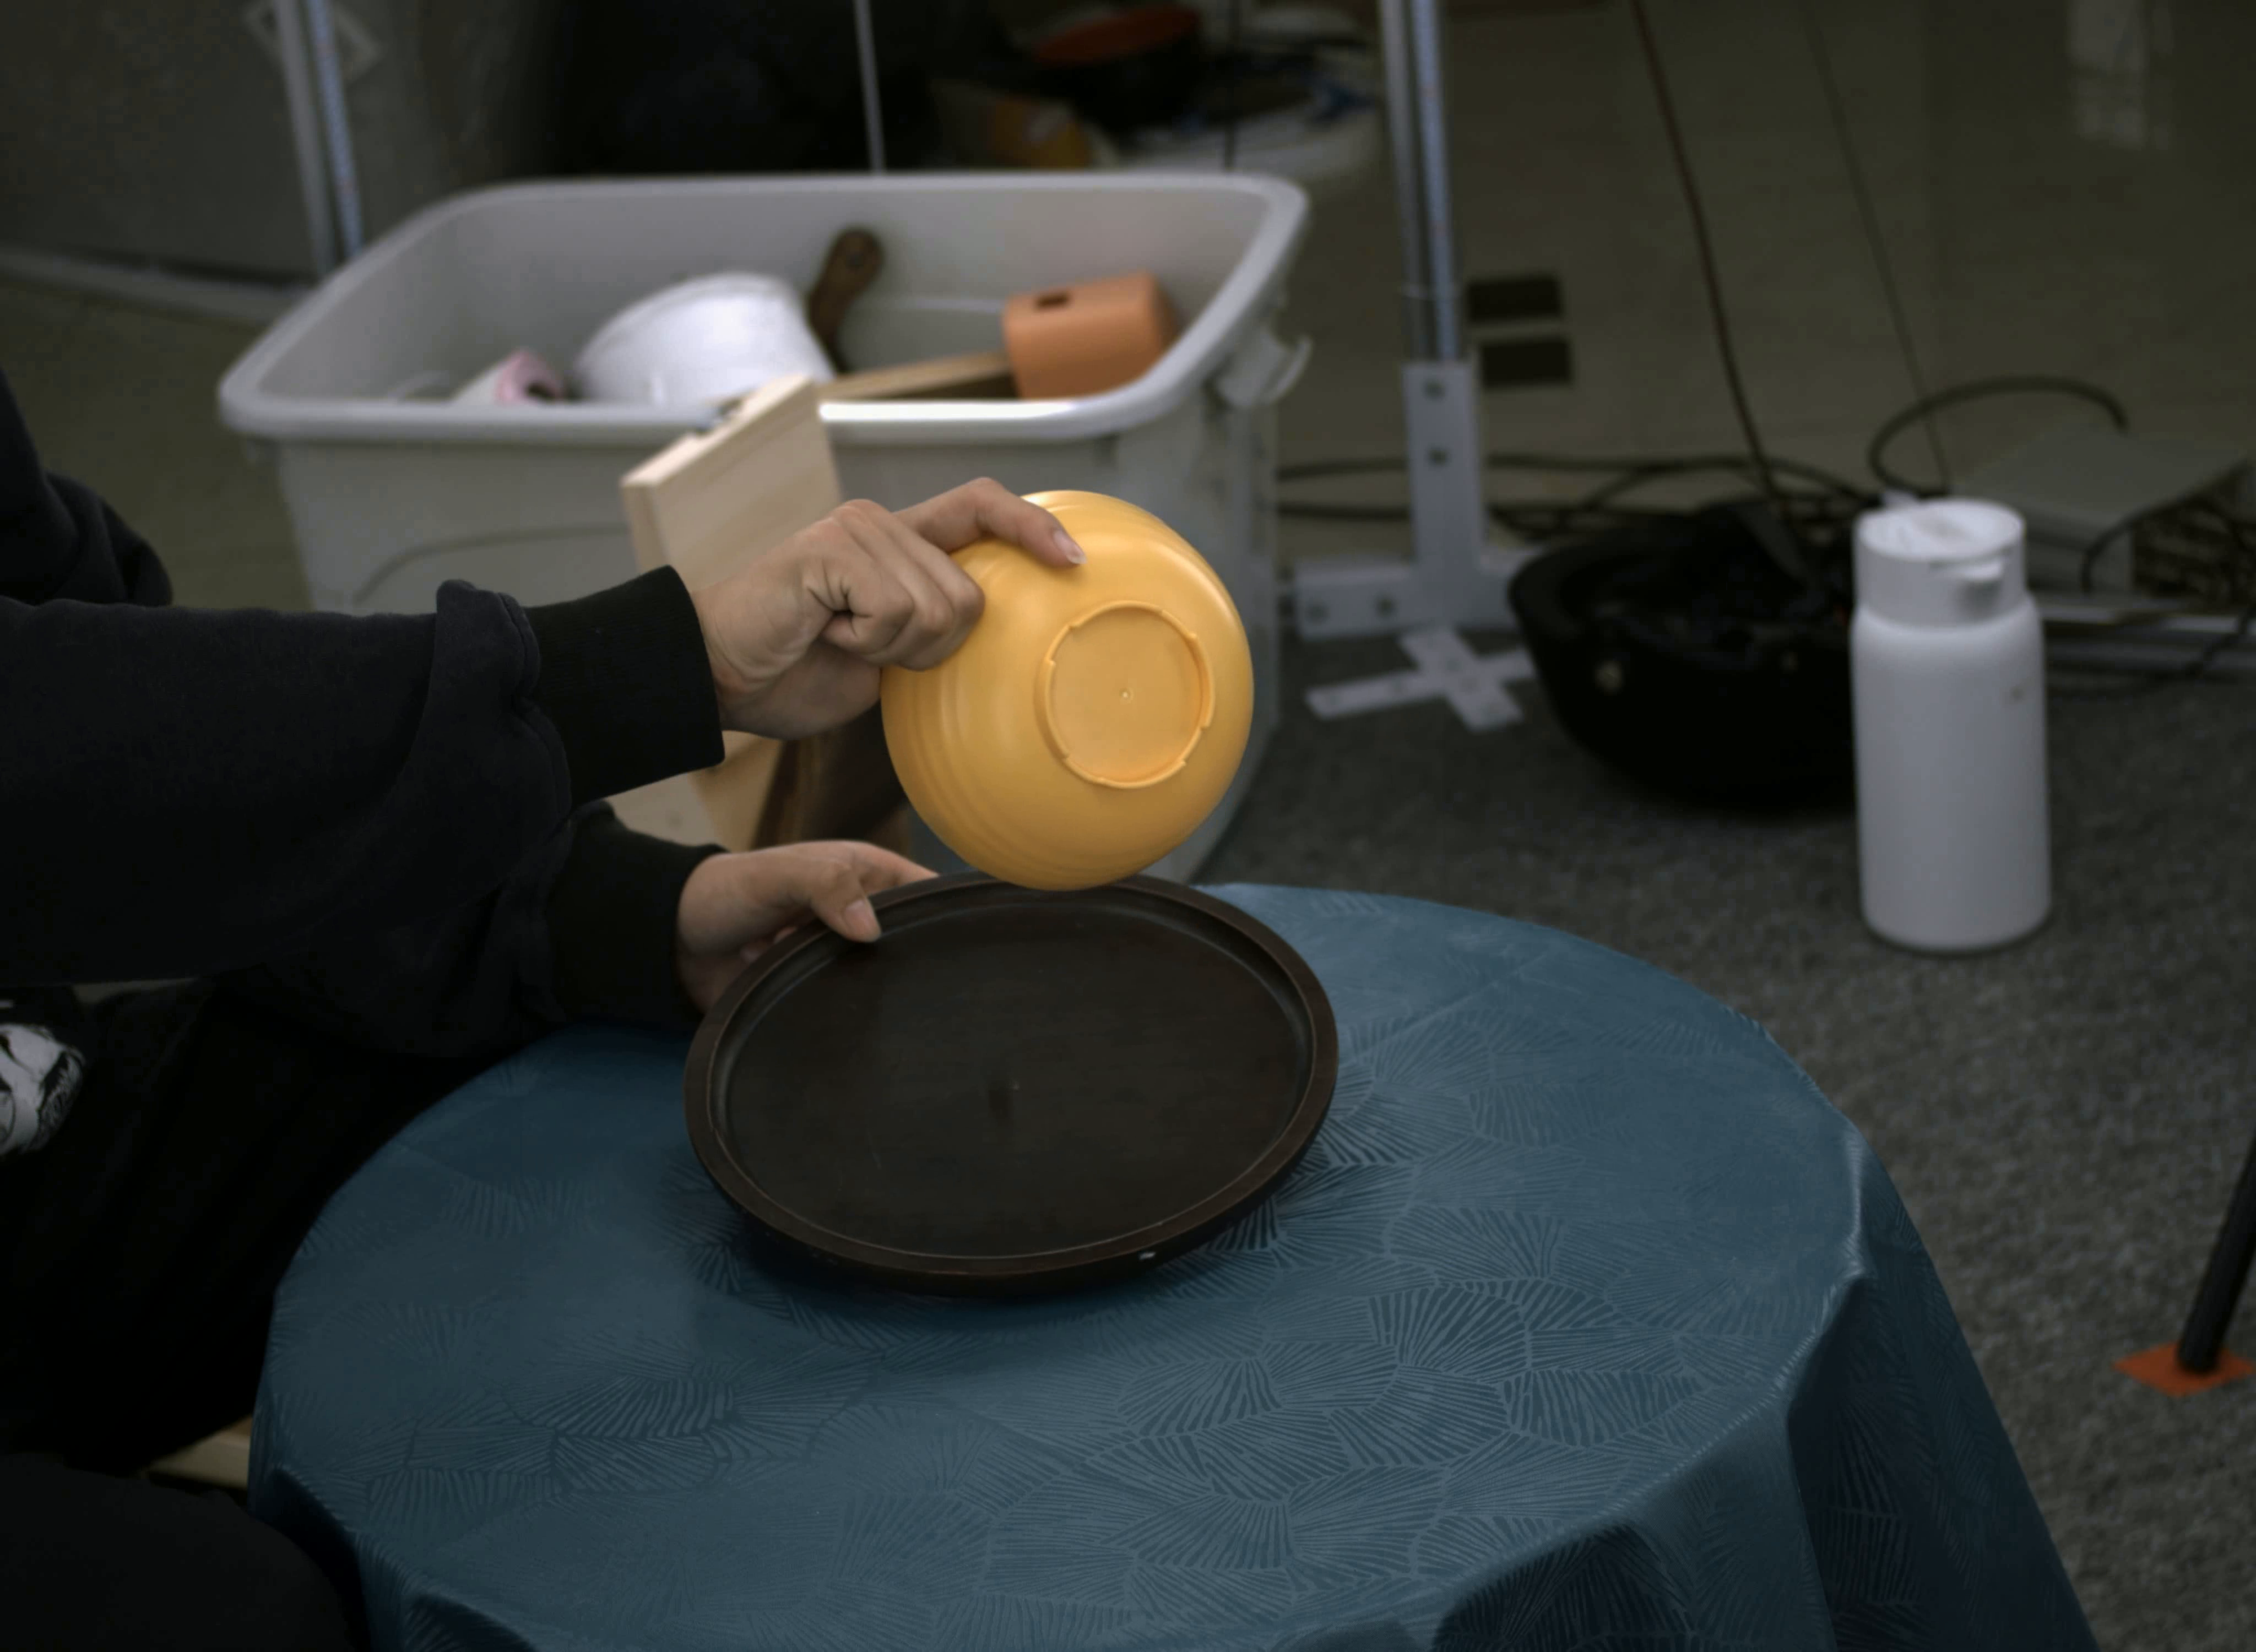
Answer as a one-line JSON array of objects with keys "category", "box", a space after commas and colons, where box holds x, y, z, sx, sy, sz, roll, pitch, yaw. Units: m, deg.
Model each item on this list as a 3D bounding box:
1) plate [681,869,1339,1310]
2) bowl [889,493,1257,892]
[{"category": "plate", "box": [-0.044, 0.099, 2.173, 0.254, 0.029, 0.250, -4, 38, 3]}, {"category": "bowl", "box": [-0.008, -0.048, 2.020, 0.144, 0.146, 0.060, -19, 12, -25]}]
